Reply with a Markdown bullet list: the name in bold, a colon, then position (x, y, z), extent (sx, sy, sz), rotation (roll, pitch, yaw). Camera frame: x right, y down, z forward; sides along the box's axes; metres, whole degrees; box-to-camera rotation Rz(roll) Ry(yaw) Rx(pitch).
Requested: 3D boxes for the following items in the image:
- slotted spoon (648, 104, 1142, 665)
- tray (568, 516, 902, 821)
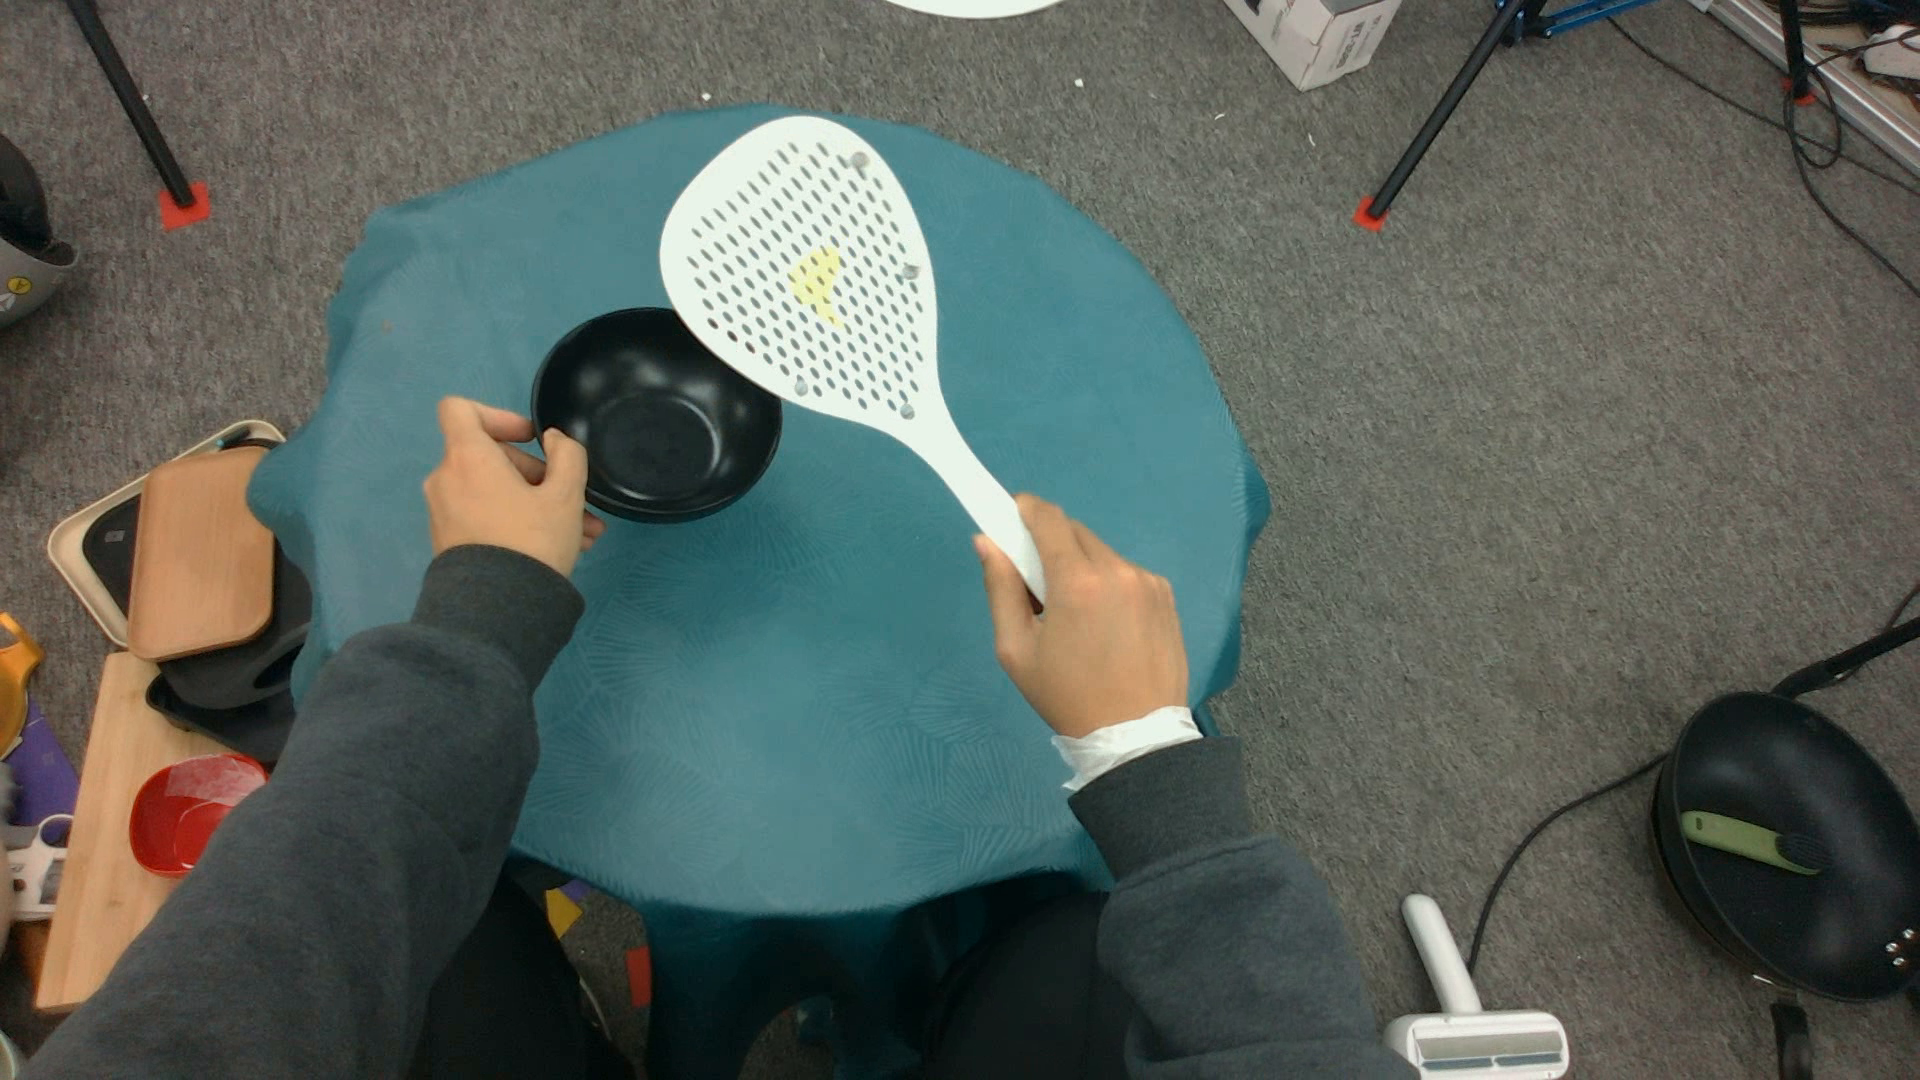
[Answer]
- **slotted spoon**: position (-0.025, -0.072, 0.711), extent (0.137, 0.050, 0.348), rotation (-37, 79, -5)
- **tray**: position (-0.227, 0.125, 1.398), extent (0.300, 0.027, 0.192), rotation (38, 63, 11)
